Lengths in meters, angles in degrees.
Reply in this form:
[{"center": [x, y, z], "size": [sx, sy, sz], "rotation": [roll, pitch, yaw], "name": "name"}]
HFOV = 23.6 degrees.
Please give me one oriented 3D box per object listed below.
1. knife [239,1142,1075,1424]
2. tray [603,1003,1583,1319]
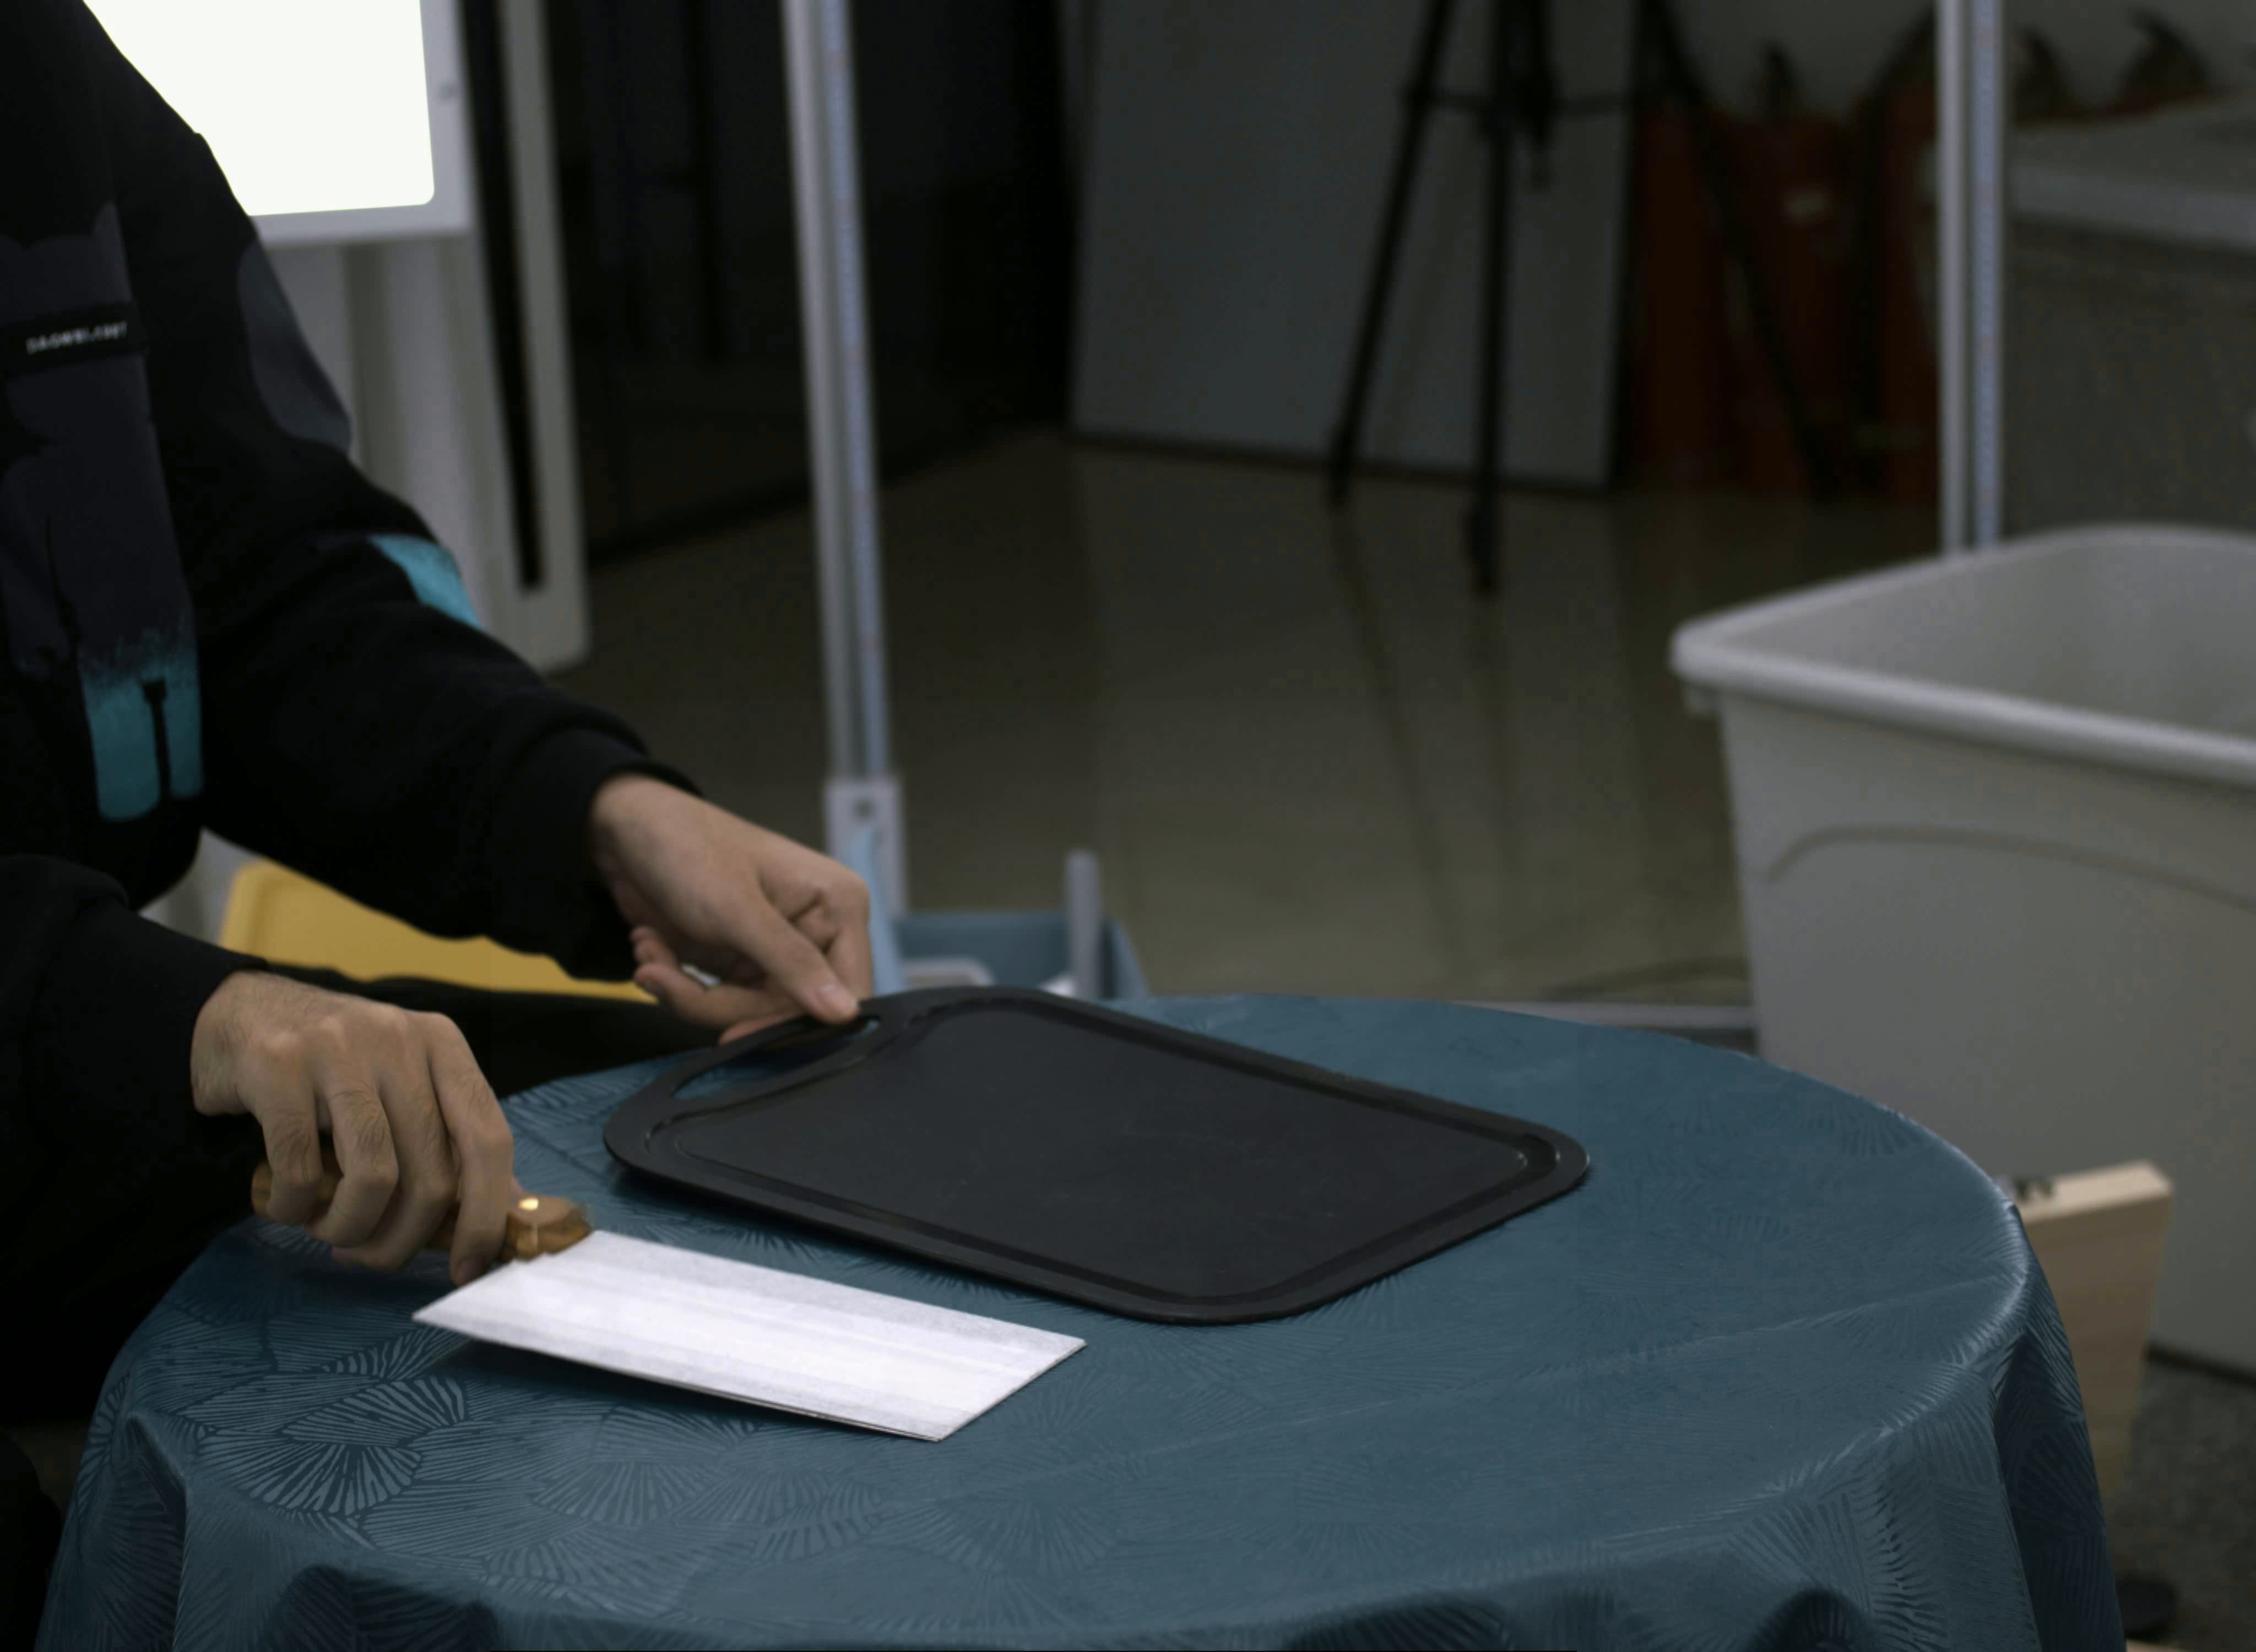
[{"center": [-0.163, 0.143, 1.666], "size": [0.307, 0.021, 0.091], "rotation": [10, 20, 29], "name": "knife"}, {"center": [-0.021, 0.105, 1.798], "size": [0.328, 0.010, 0.207], "rotation": [12, 22, 41], "name": "tray"}]
